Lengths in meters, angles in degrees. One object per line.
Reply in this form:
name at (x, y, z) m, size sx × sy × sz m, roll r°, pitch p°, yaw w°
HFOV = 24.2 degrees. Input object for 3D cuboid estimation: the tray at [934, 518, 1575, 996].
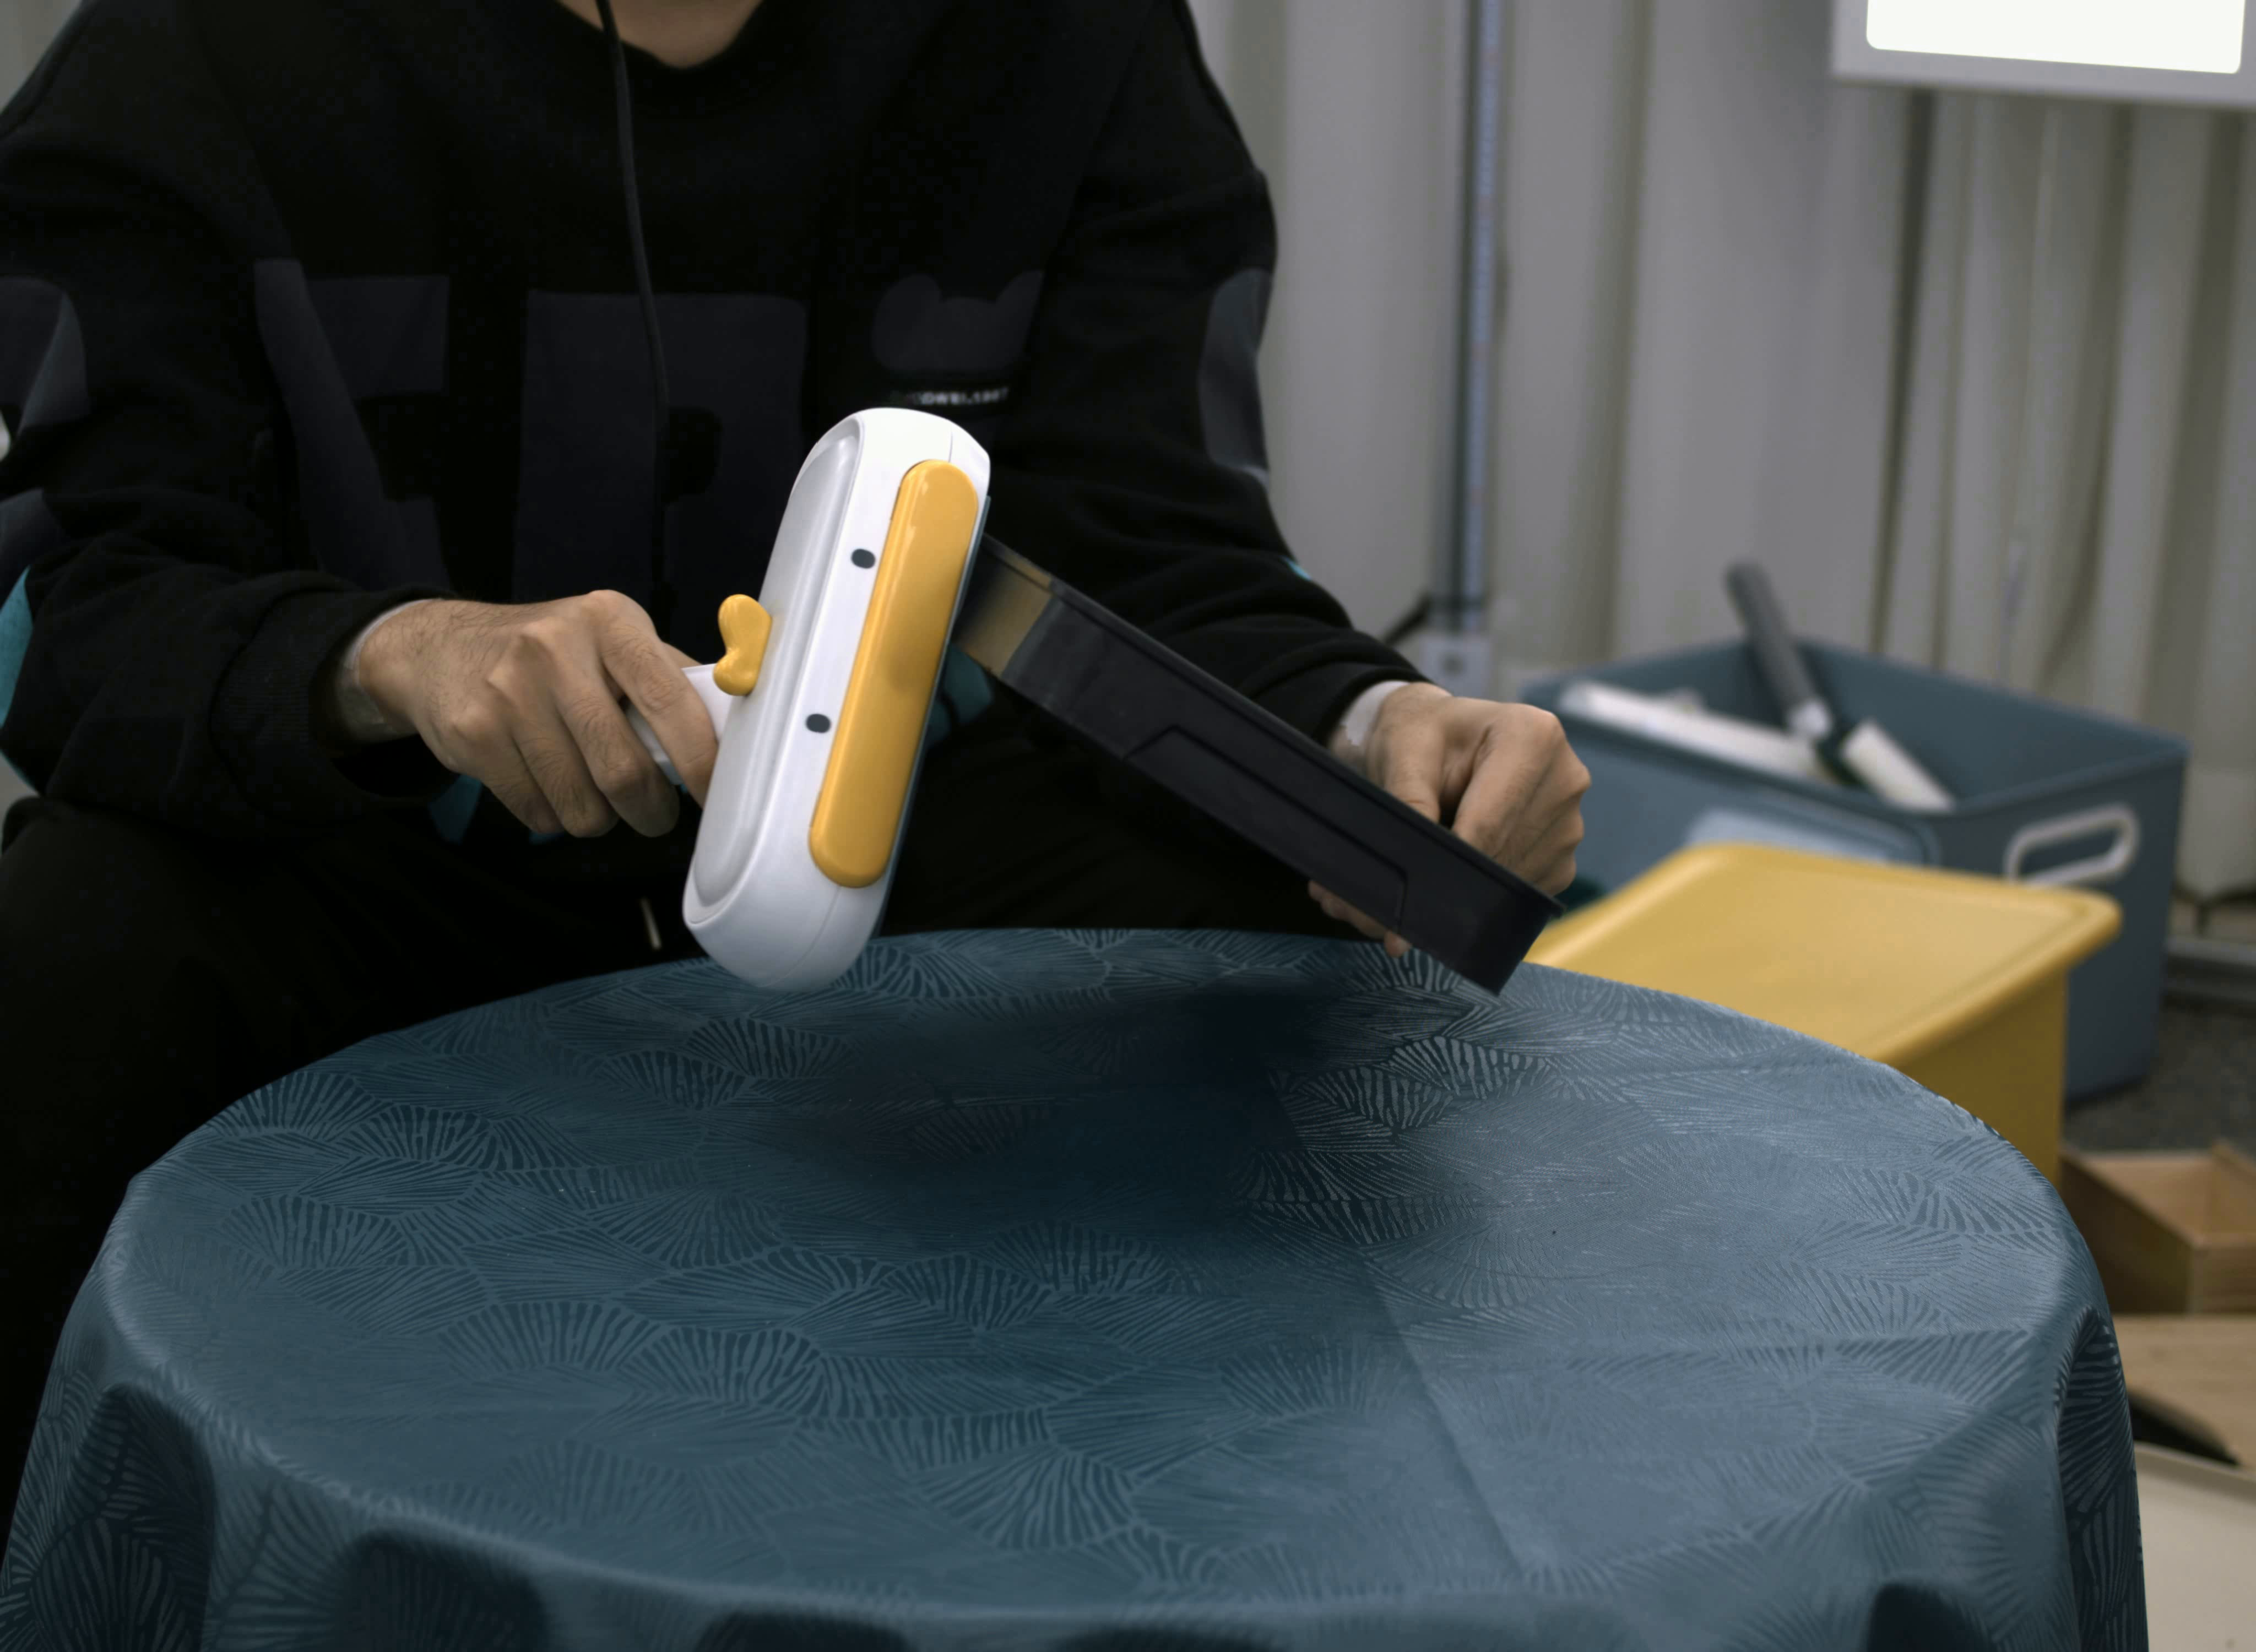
tray at (0.025, -0.029, 1.673) m, size 0.185 × 0.037 × 0.316 m, roll 33°, pitch 1°, yaw -13°

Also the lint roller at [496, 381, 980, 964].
lint roller at (-0.129, -0.036, 1.677) m, size 0.075 × 0.192 × 0.191 m, roll 22°, pitch -28°, yaw -32°
